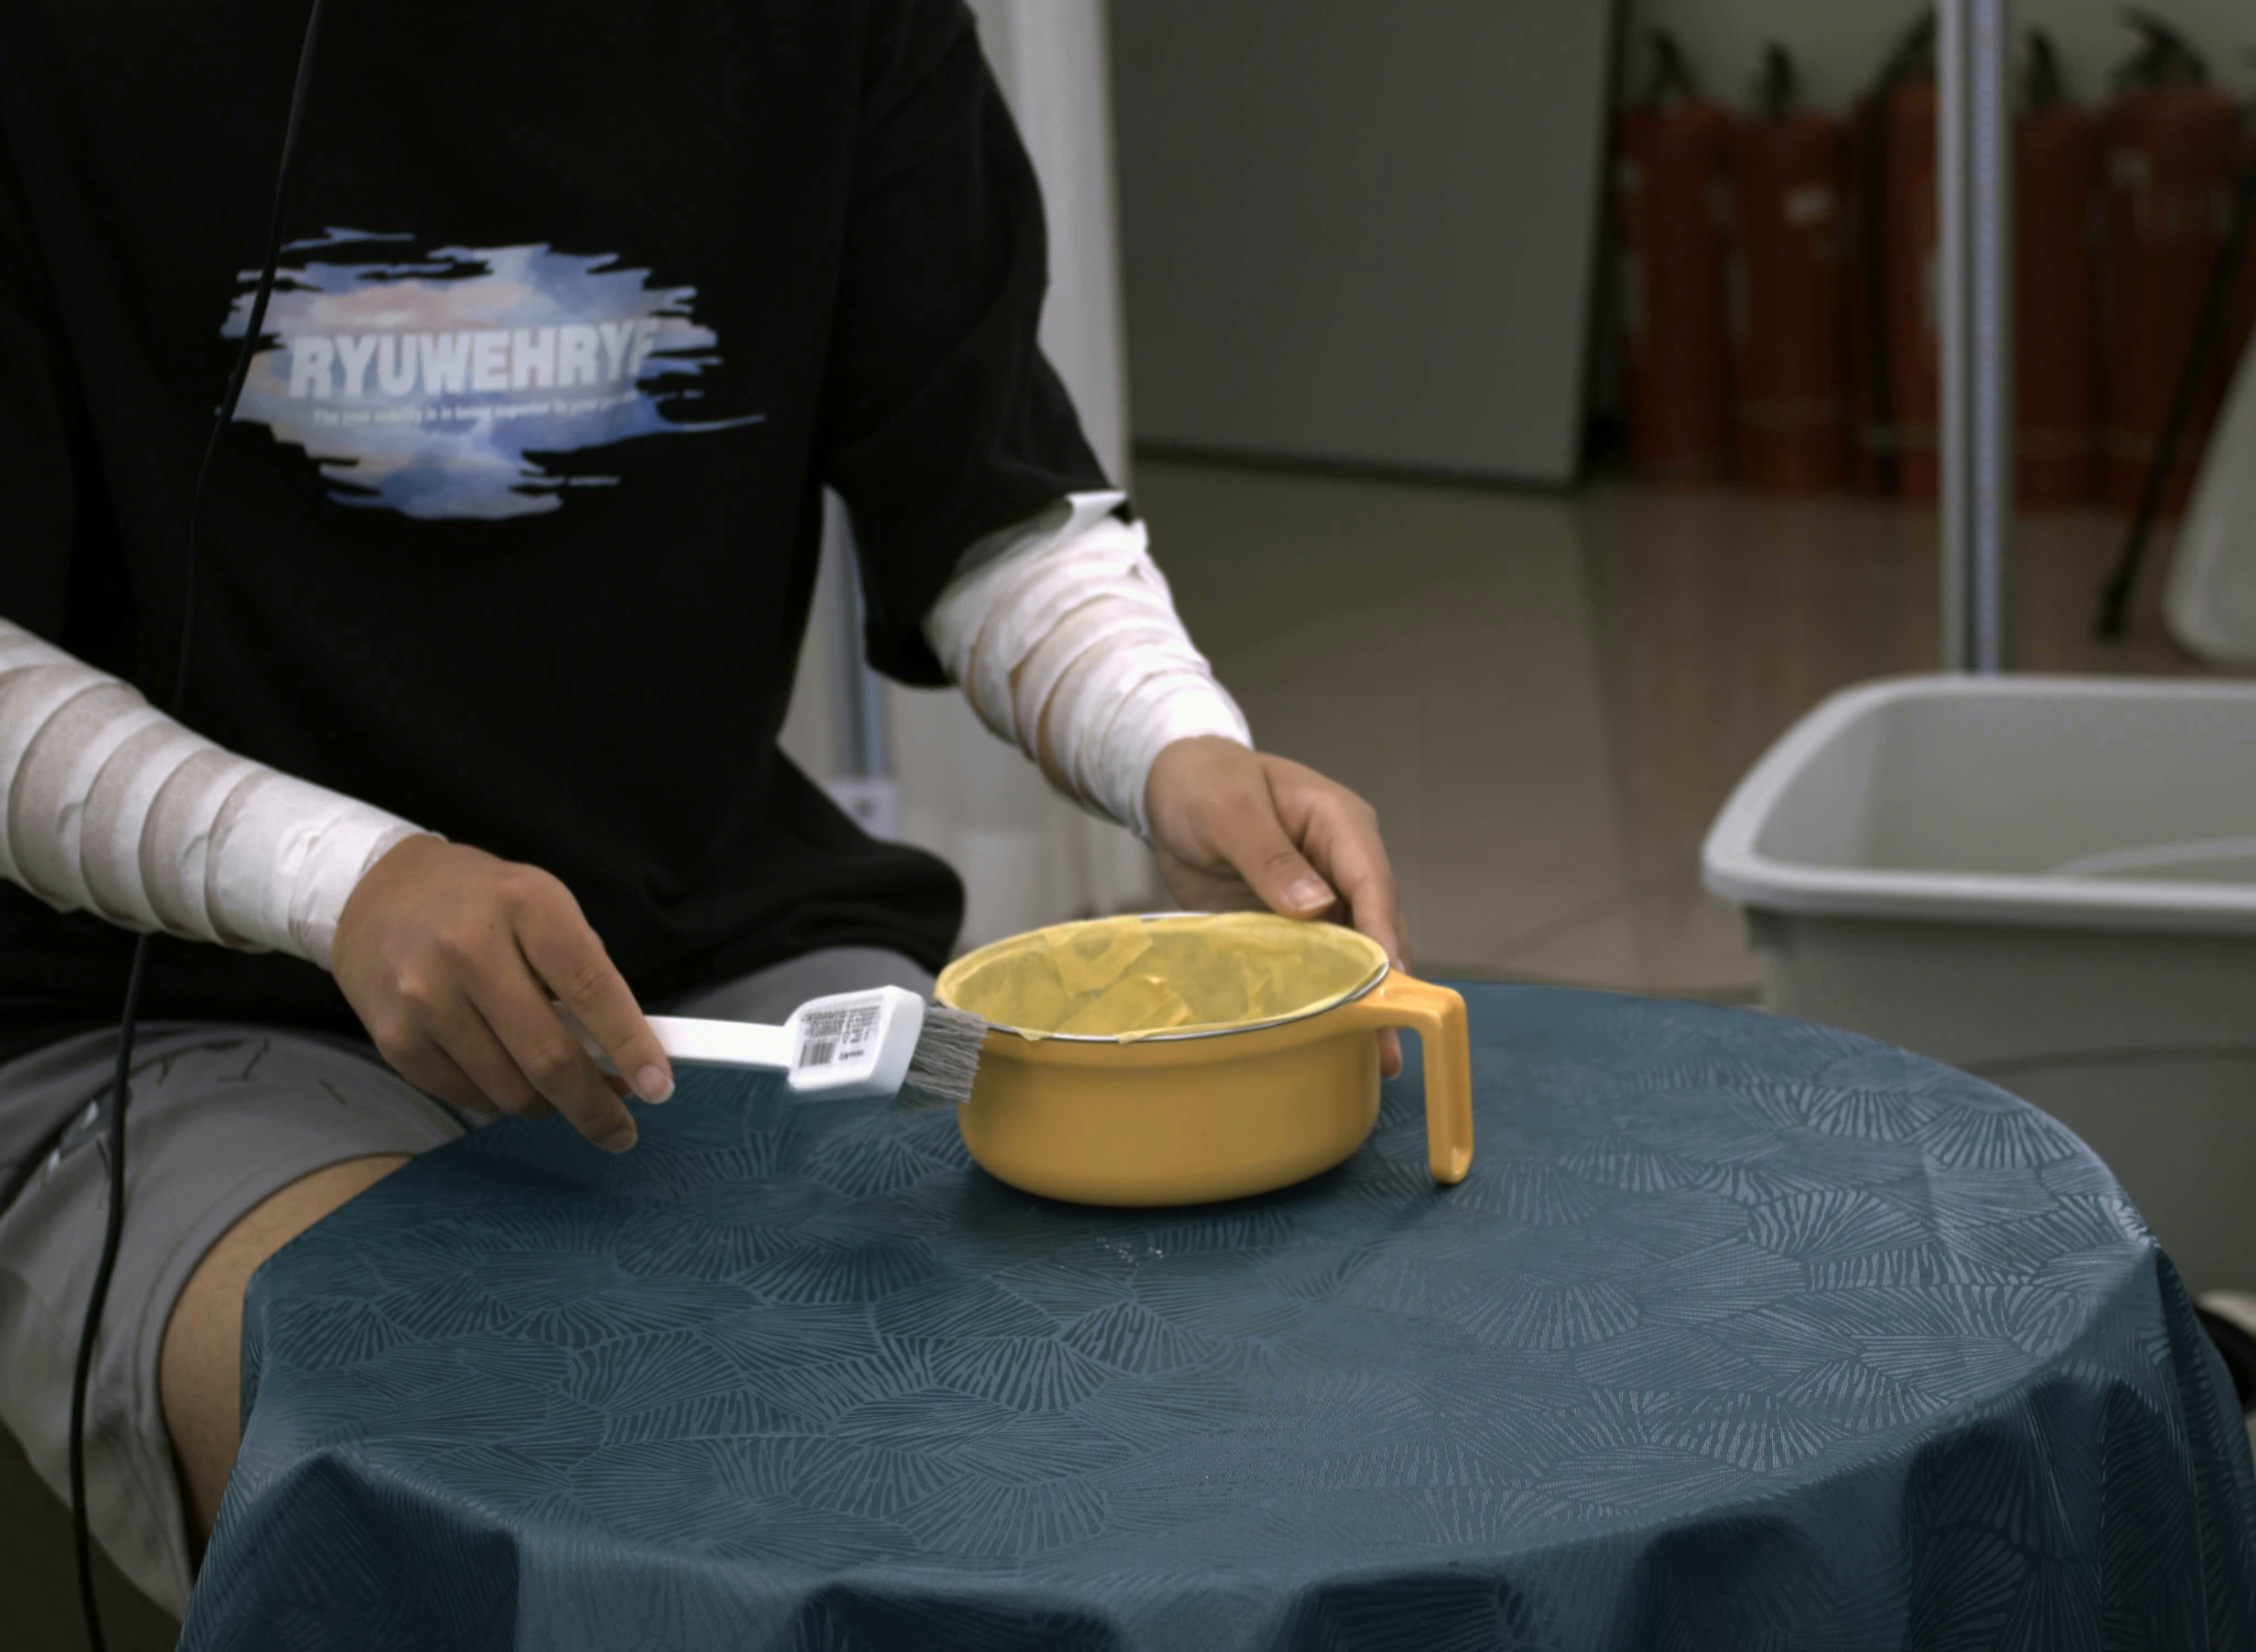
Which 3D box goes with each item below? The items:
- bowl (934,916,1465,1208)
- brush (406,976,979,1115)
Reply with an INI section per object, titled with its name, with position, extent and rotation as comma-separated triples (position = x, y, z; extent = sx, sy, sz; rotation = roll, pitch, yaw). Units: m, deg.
[bowl]
position = 0.024, 0.081, 1.787
extent = 0.179, 0.075, 0.151
rotation = 2, 10, 21
[brush]
position = -0.144, 0.079, 1.789
extent = 0.245, 0.035, 0.049
rotation = -7, -23, 42
